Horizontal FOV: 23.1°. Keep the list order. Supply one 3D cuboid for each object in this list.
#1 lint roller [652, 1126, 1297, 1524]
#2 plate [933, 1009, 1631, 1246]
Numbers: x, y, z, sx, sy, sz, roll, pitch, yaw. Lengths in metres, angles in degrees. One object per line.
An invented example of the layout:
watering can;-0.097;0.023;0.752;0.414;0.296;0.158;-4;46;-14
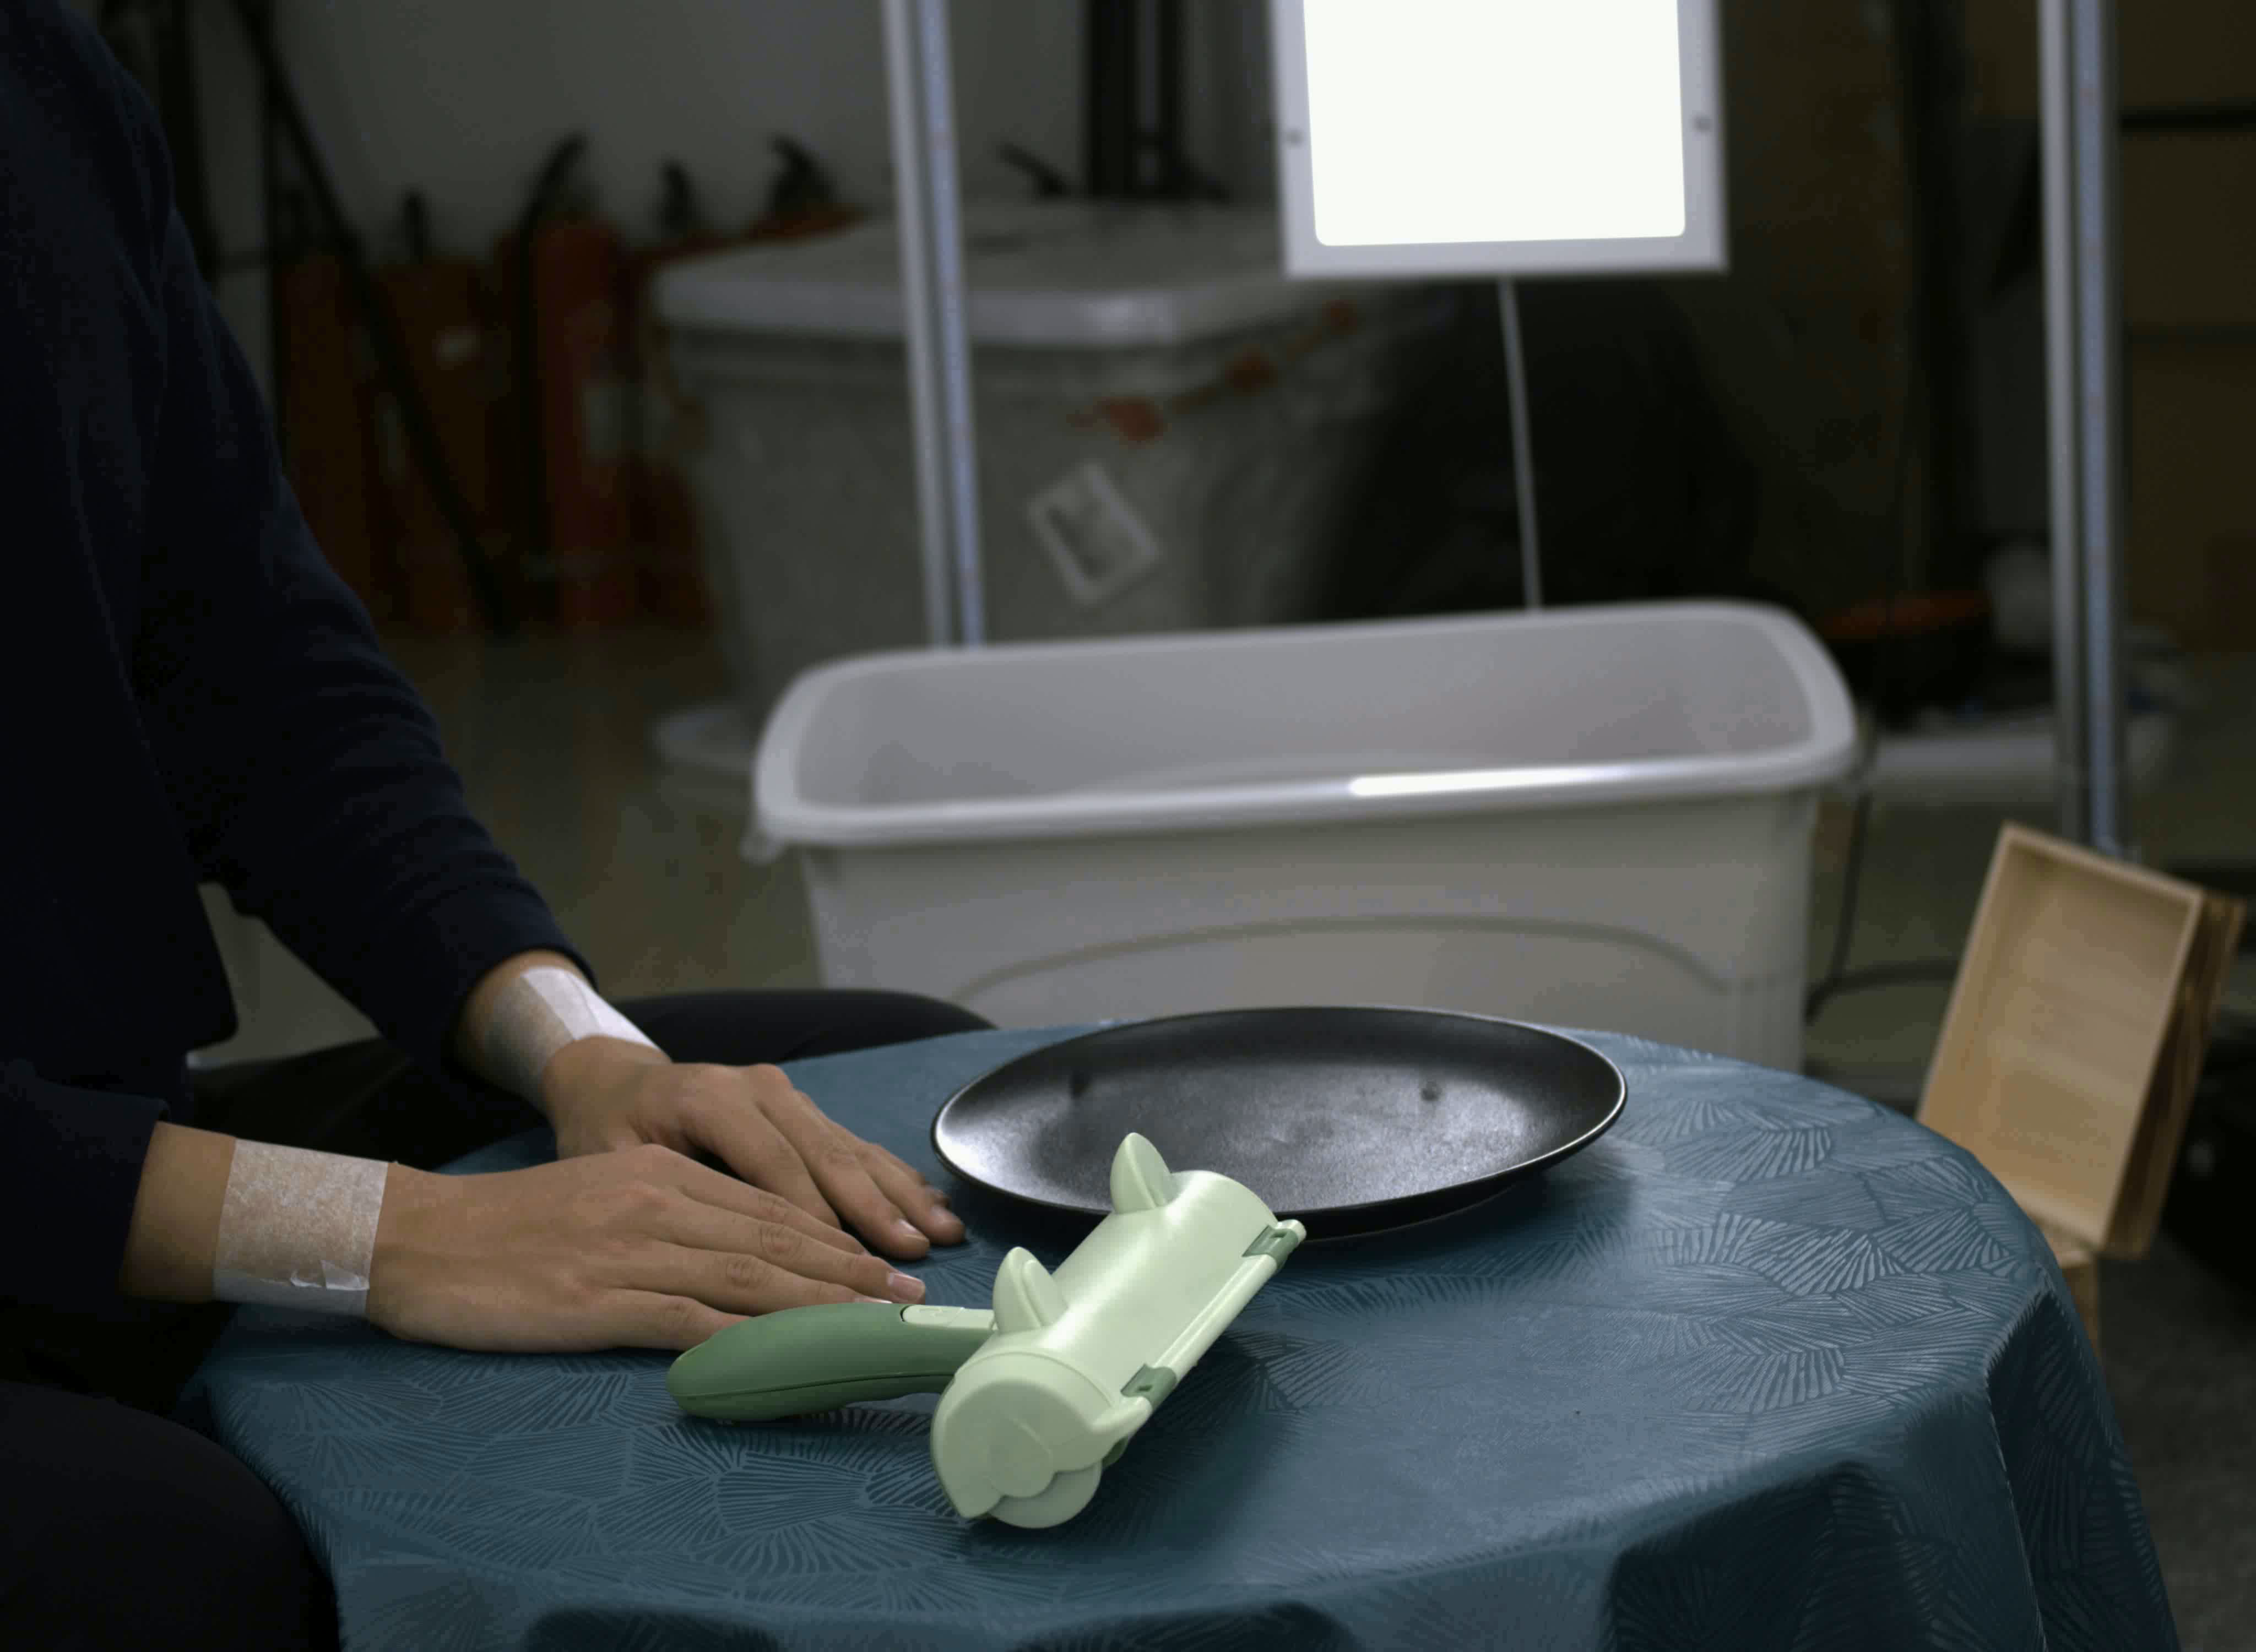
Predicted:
lint roller;-0.059;0.142;1.677;0.185;0.082;0.195;6;15;17
plate;0.054;0.106;1.910;0.244;0.023;0.244;-5;14;0
